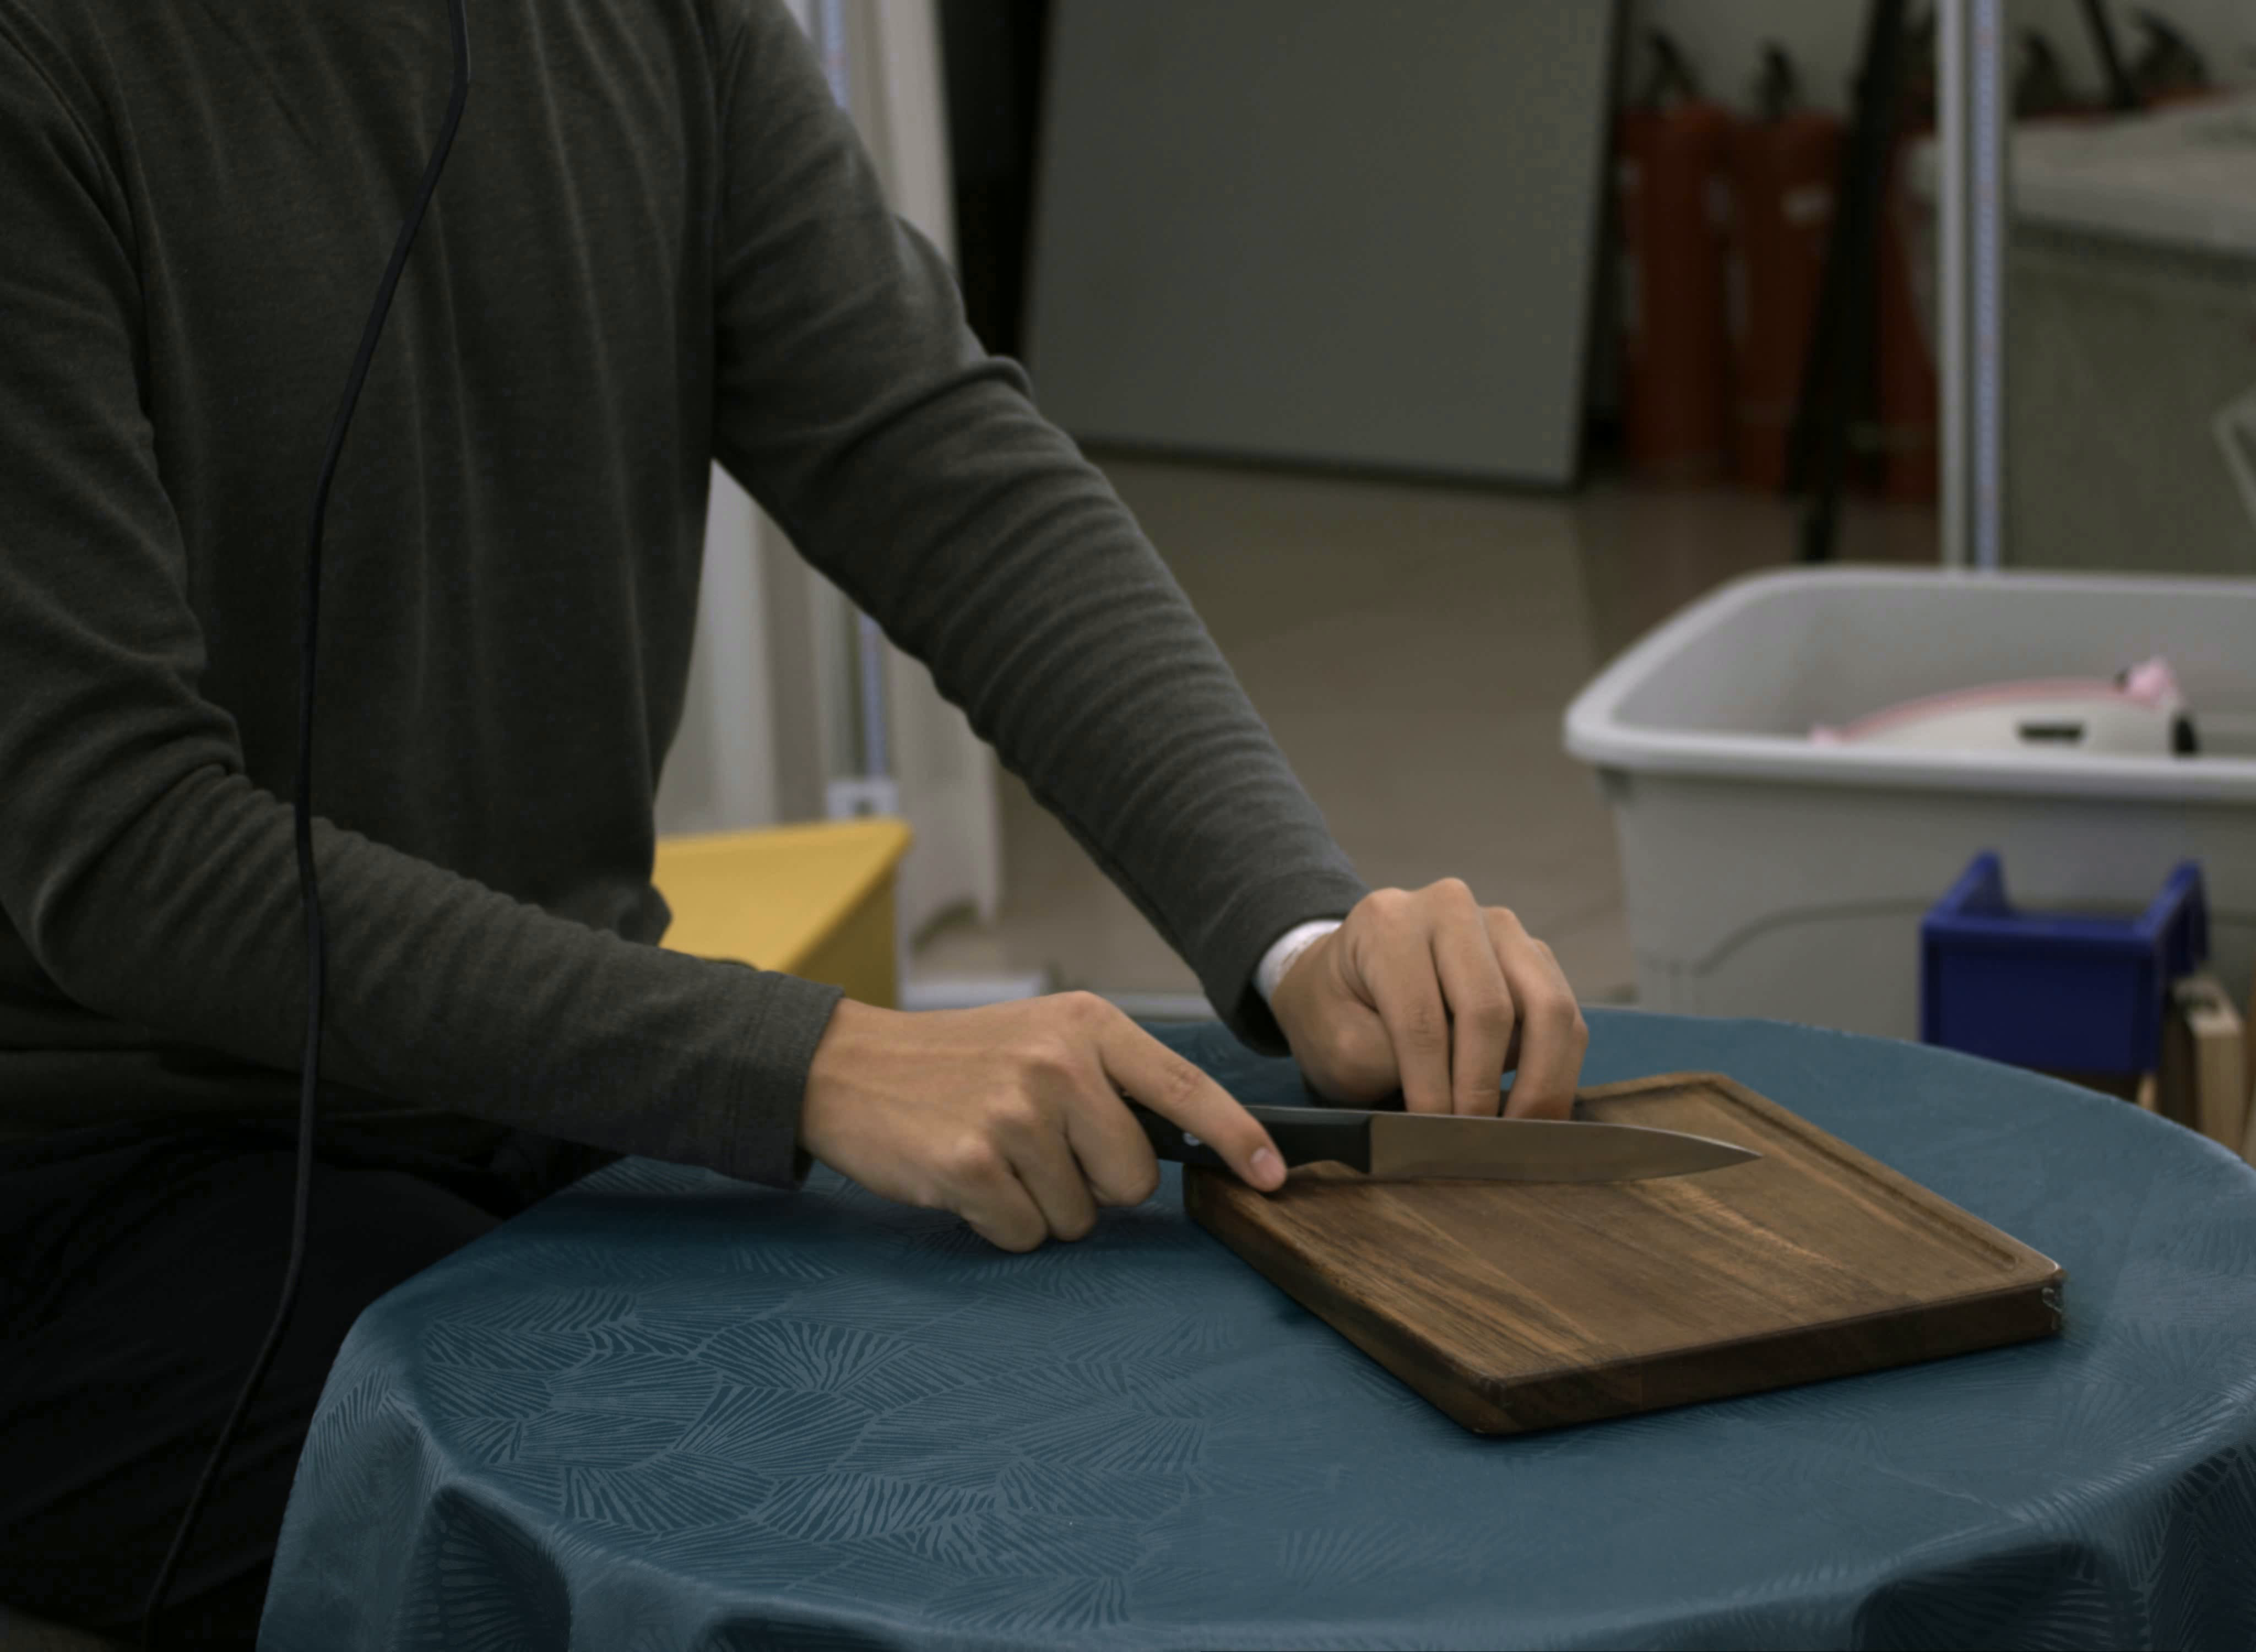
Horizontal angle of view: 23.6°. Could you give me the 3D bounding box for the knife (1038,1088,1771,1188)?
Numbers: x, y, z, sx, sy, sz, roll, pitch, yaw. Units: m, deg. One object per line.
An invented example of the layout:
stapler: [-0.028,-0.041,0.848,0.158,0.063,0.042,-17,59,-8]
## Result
knife: [0.087,0.098,1.711,0.237,0.025,0.016,3,11,13]

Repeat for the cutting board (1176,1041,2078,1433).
cutting board: [0.131,0.118,1.708,0.197,0.023,0.355,-8,14,-19]
